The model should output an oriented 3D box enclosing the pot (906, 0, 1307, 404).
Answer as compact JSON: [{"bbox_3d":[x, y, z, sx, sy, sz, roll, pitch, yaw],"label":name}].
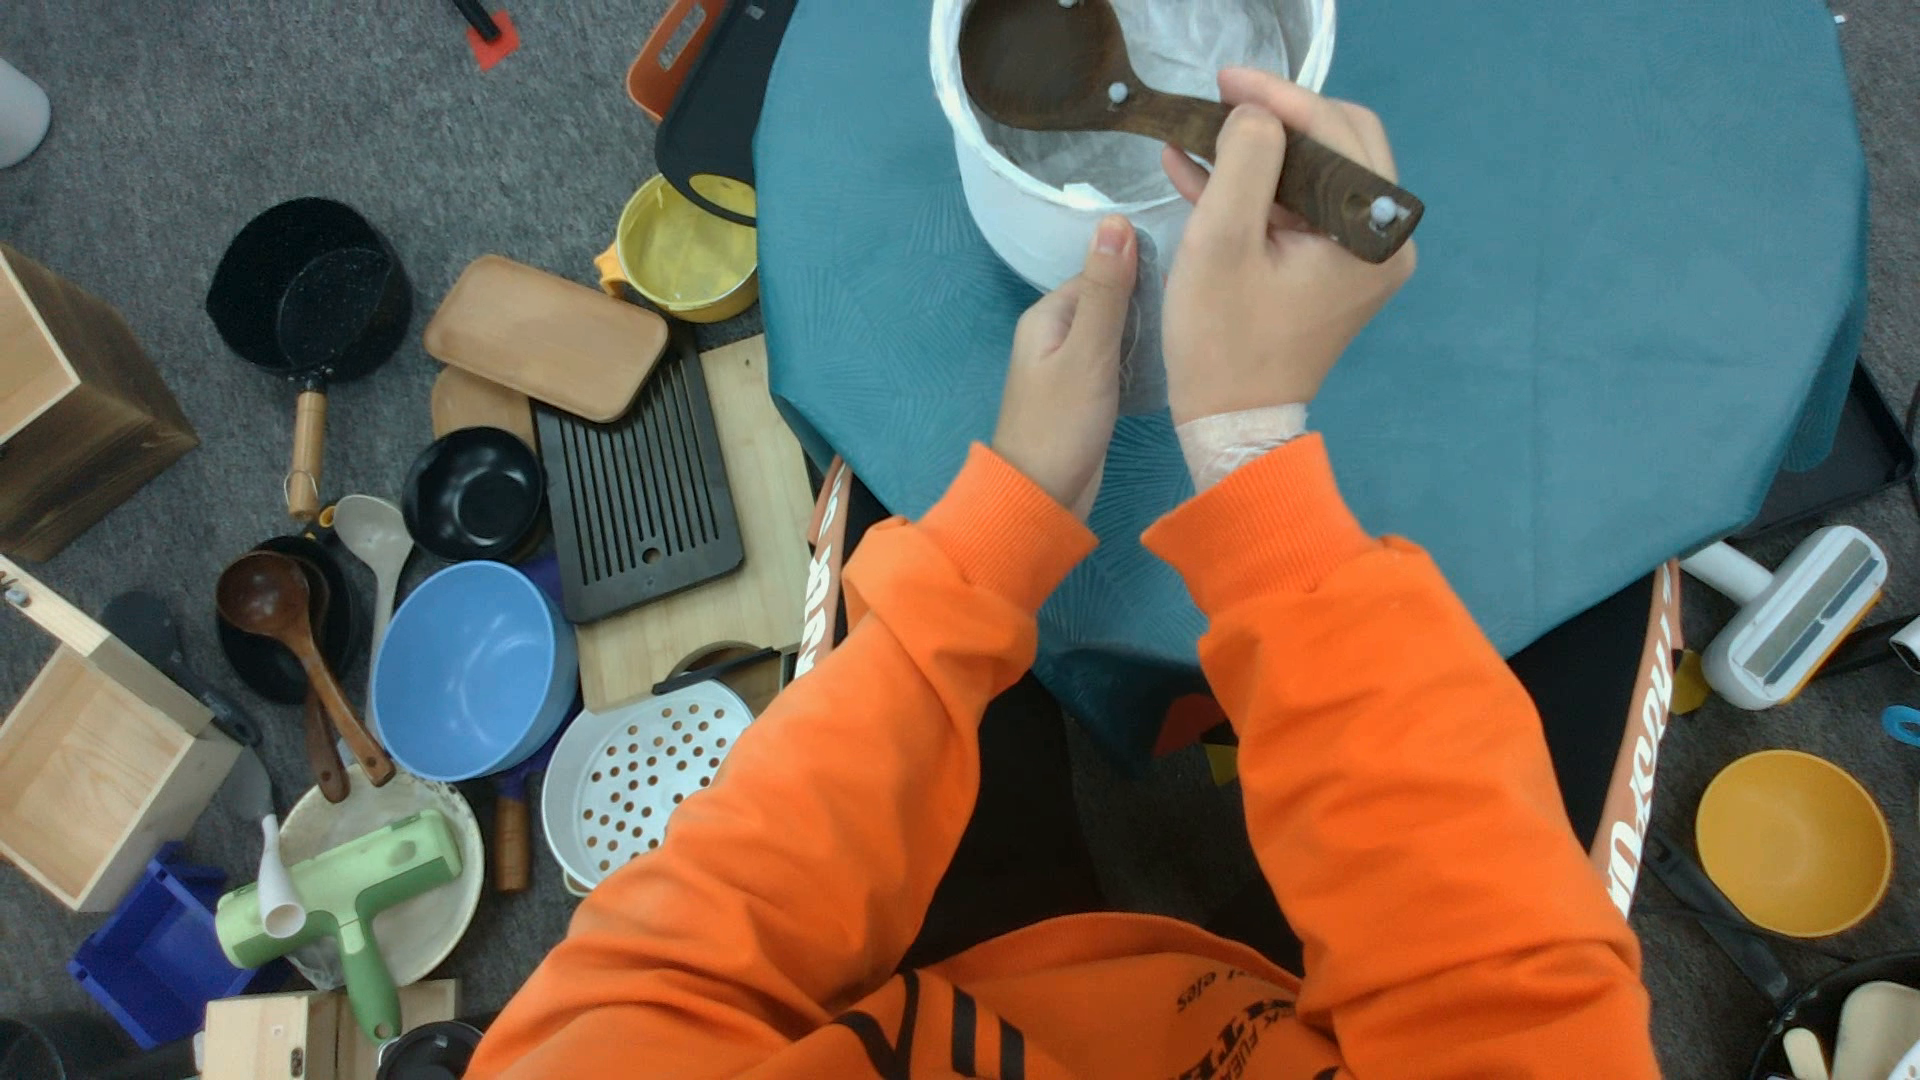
[{"bbox_3d":[0.072,-0.190,0.665,0.178,0.136,0.234,-4,77,6],"label":"pot"}]

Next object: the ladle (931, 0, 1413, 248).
[{"bbox_3d":[0.067,-0.180,0.541,0.076,0.071,0.274,-52,35,9],"label":"ladle"}]
